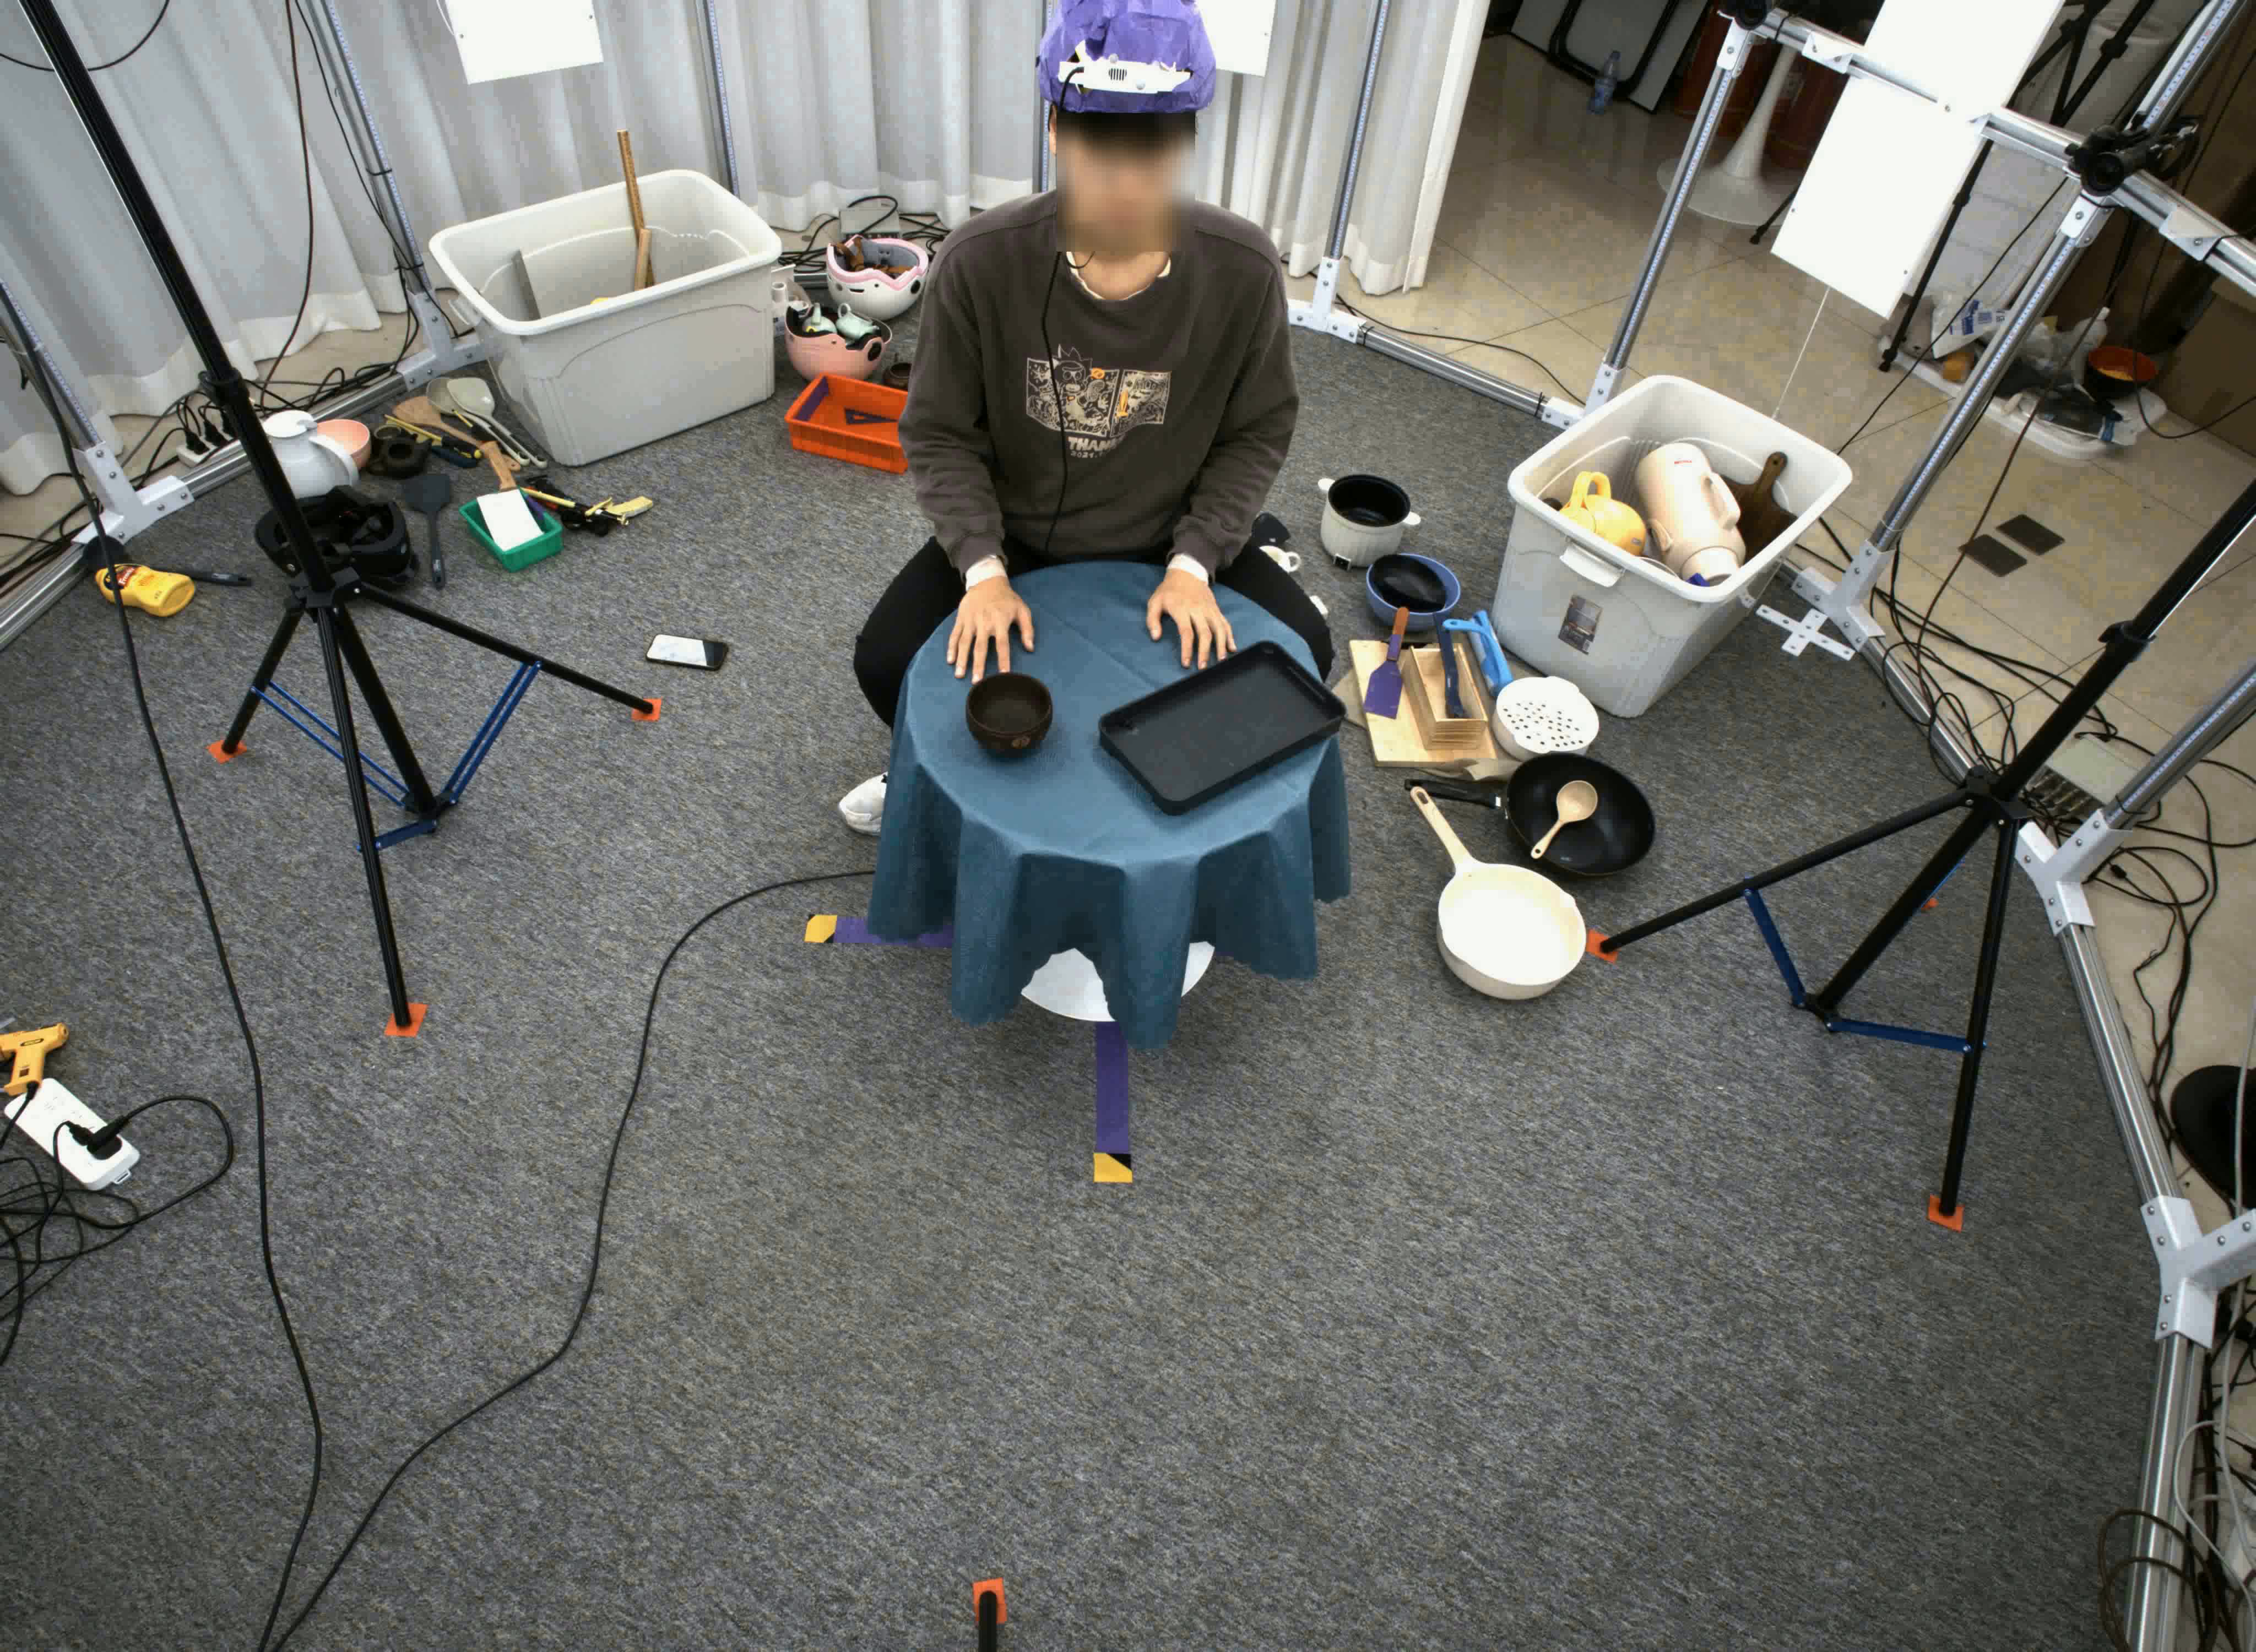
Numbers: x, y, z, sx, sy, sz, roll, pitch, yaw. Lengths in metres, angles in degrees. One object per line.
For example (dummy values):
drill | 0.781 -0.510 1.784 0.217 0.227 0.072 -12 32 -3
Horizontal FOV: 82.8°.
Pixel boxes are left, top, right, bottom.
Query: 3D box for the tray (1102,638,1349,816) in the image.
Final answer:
tray | 0.136 -0.143 1.775 0.320 0.036 0.188 -29 56 -25

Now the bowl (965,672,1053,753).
bowl | -0.160 -0.145 1.735 0.118 0.068 0.121 1 48 -1
